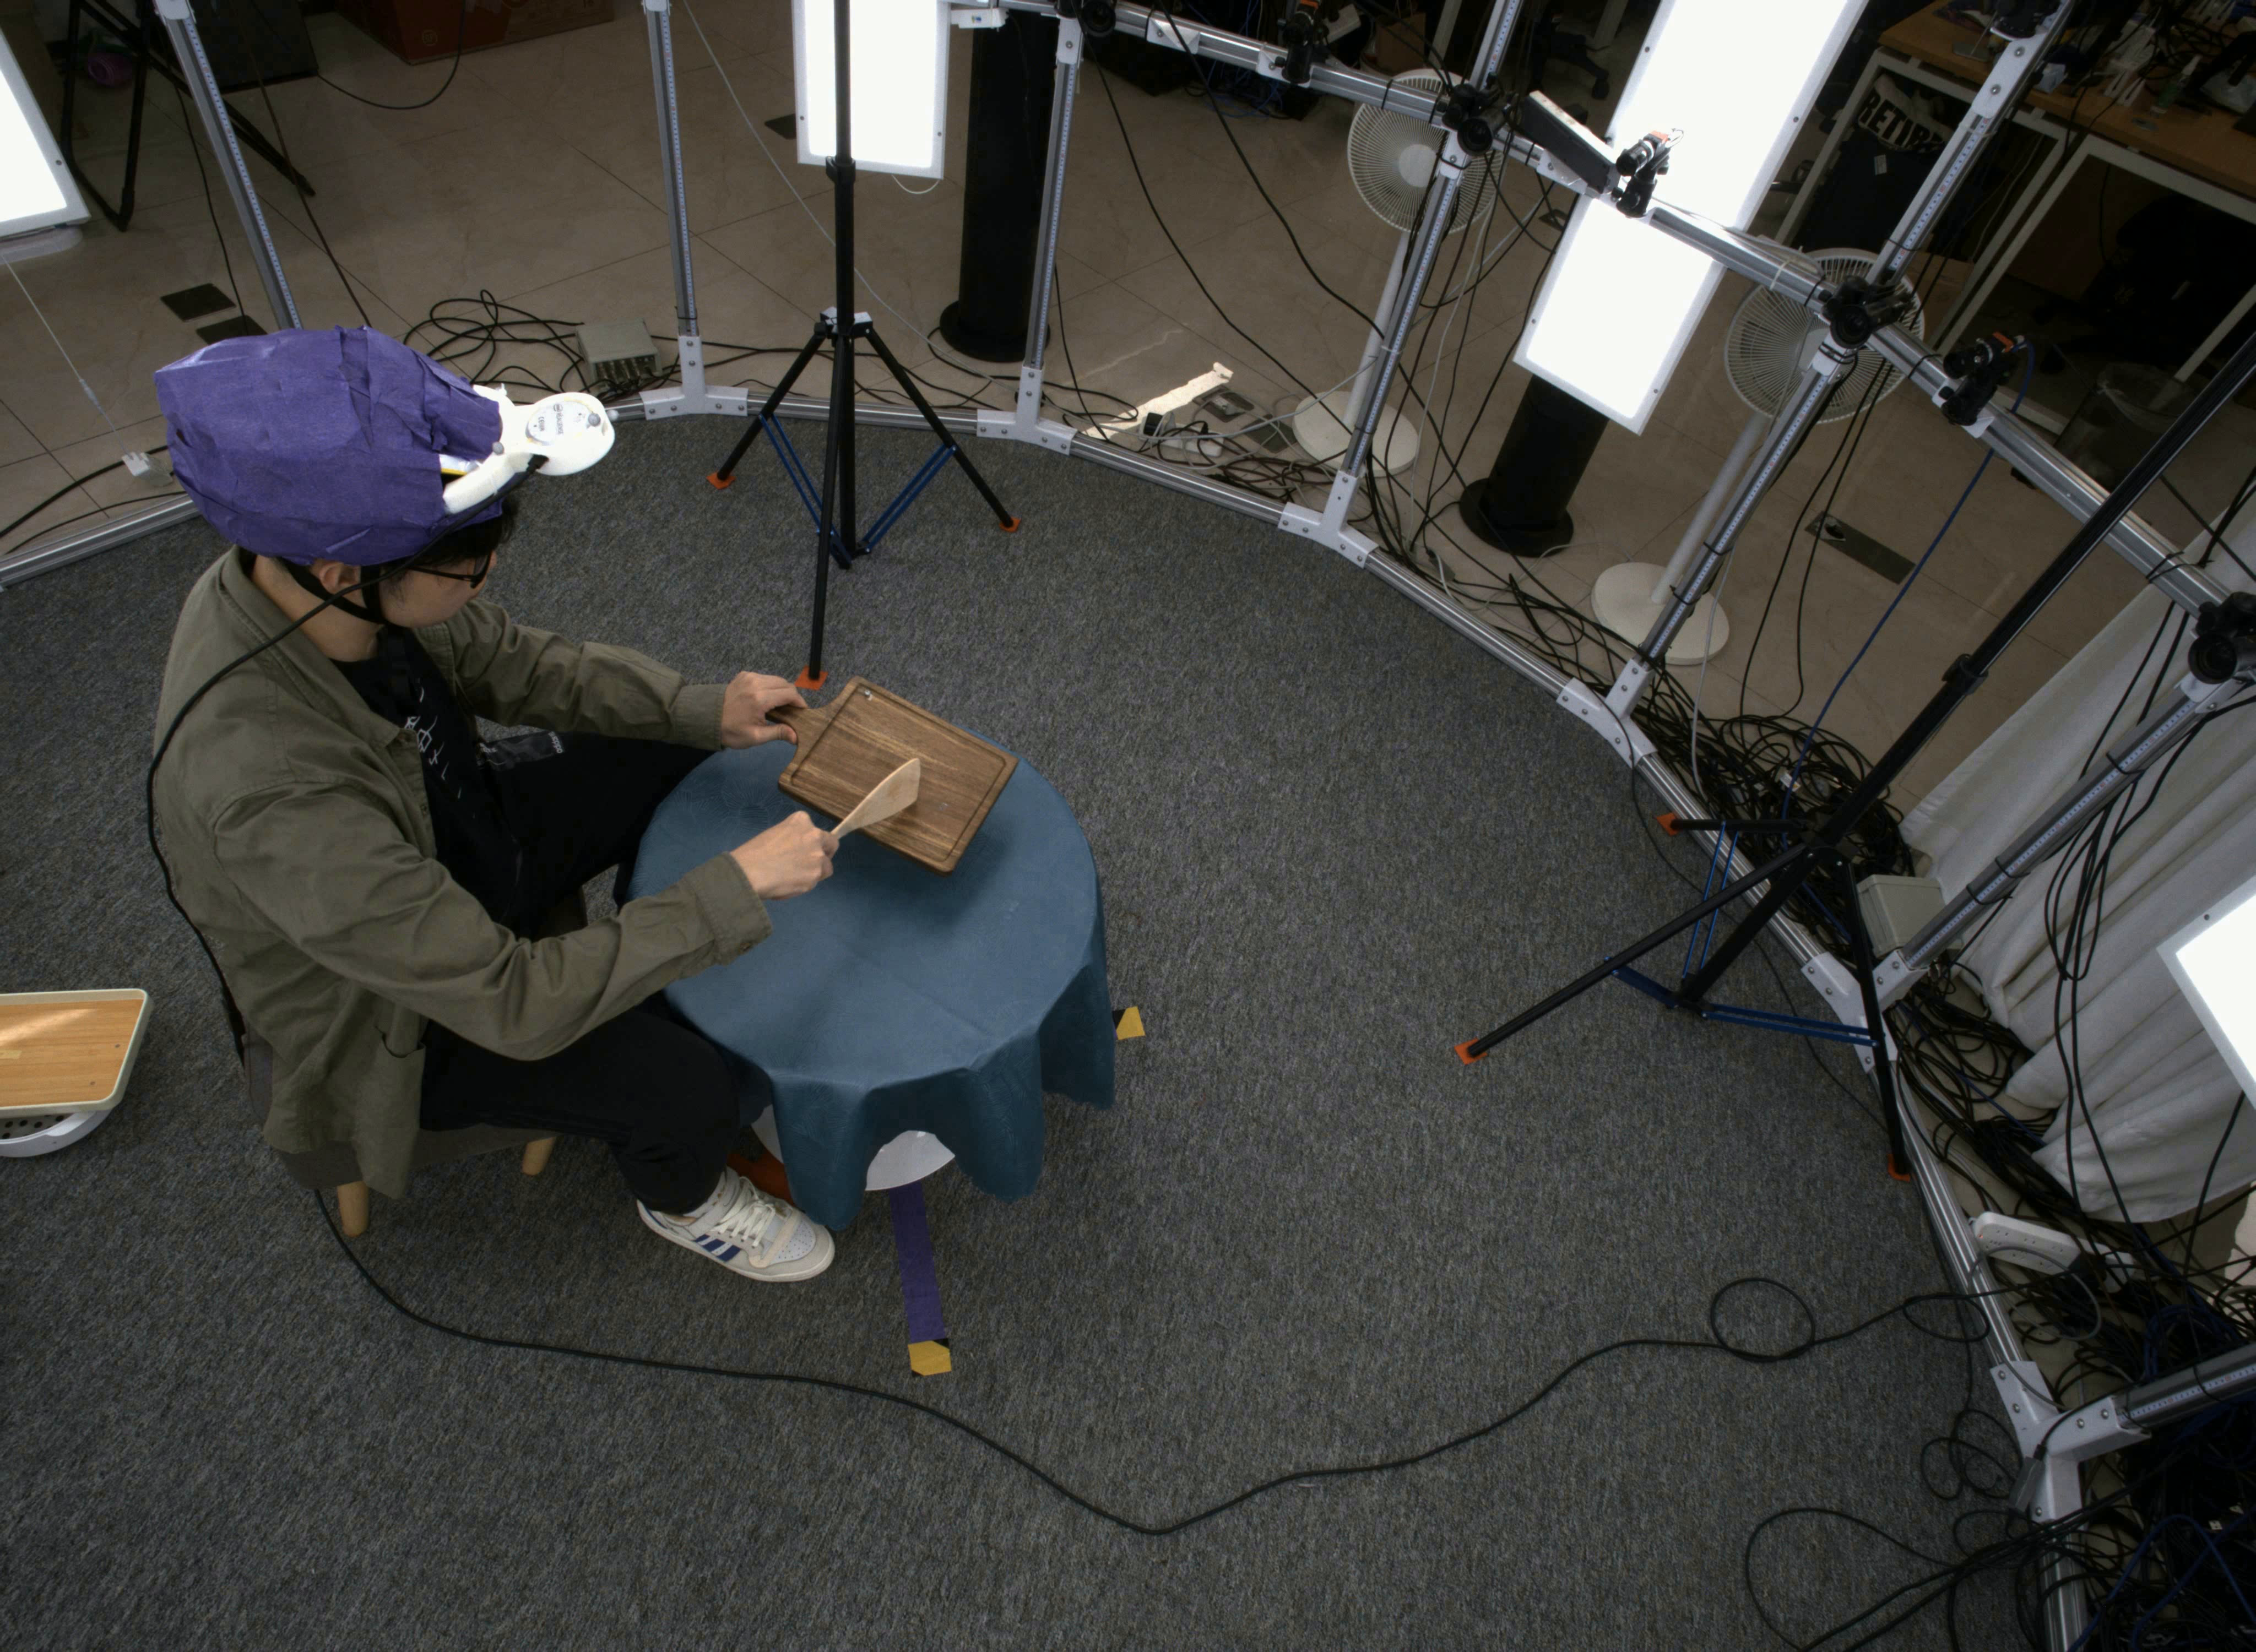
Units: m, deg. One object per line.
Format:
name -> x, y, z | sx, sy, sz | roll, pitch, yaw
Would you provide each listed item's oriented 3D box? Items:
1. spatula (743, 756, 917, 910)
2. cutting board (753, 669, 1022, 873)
spatula -> -0.341, 0.009, 1.519 | 0.016, 0.081, 0.327 | 28, 37, 12
cutting board -> -0.333, -0.099, 1.695 | 0.350, 0.023, 0.200 | 29, 61, -1
